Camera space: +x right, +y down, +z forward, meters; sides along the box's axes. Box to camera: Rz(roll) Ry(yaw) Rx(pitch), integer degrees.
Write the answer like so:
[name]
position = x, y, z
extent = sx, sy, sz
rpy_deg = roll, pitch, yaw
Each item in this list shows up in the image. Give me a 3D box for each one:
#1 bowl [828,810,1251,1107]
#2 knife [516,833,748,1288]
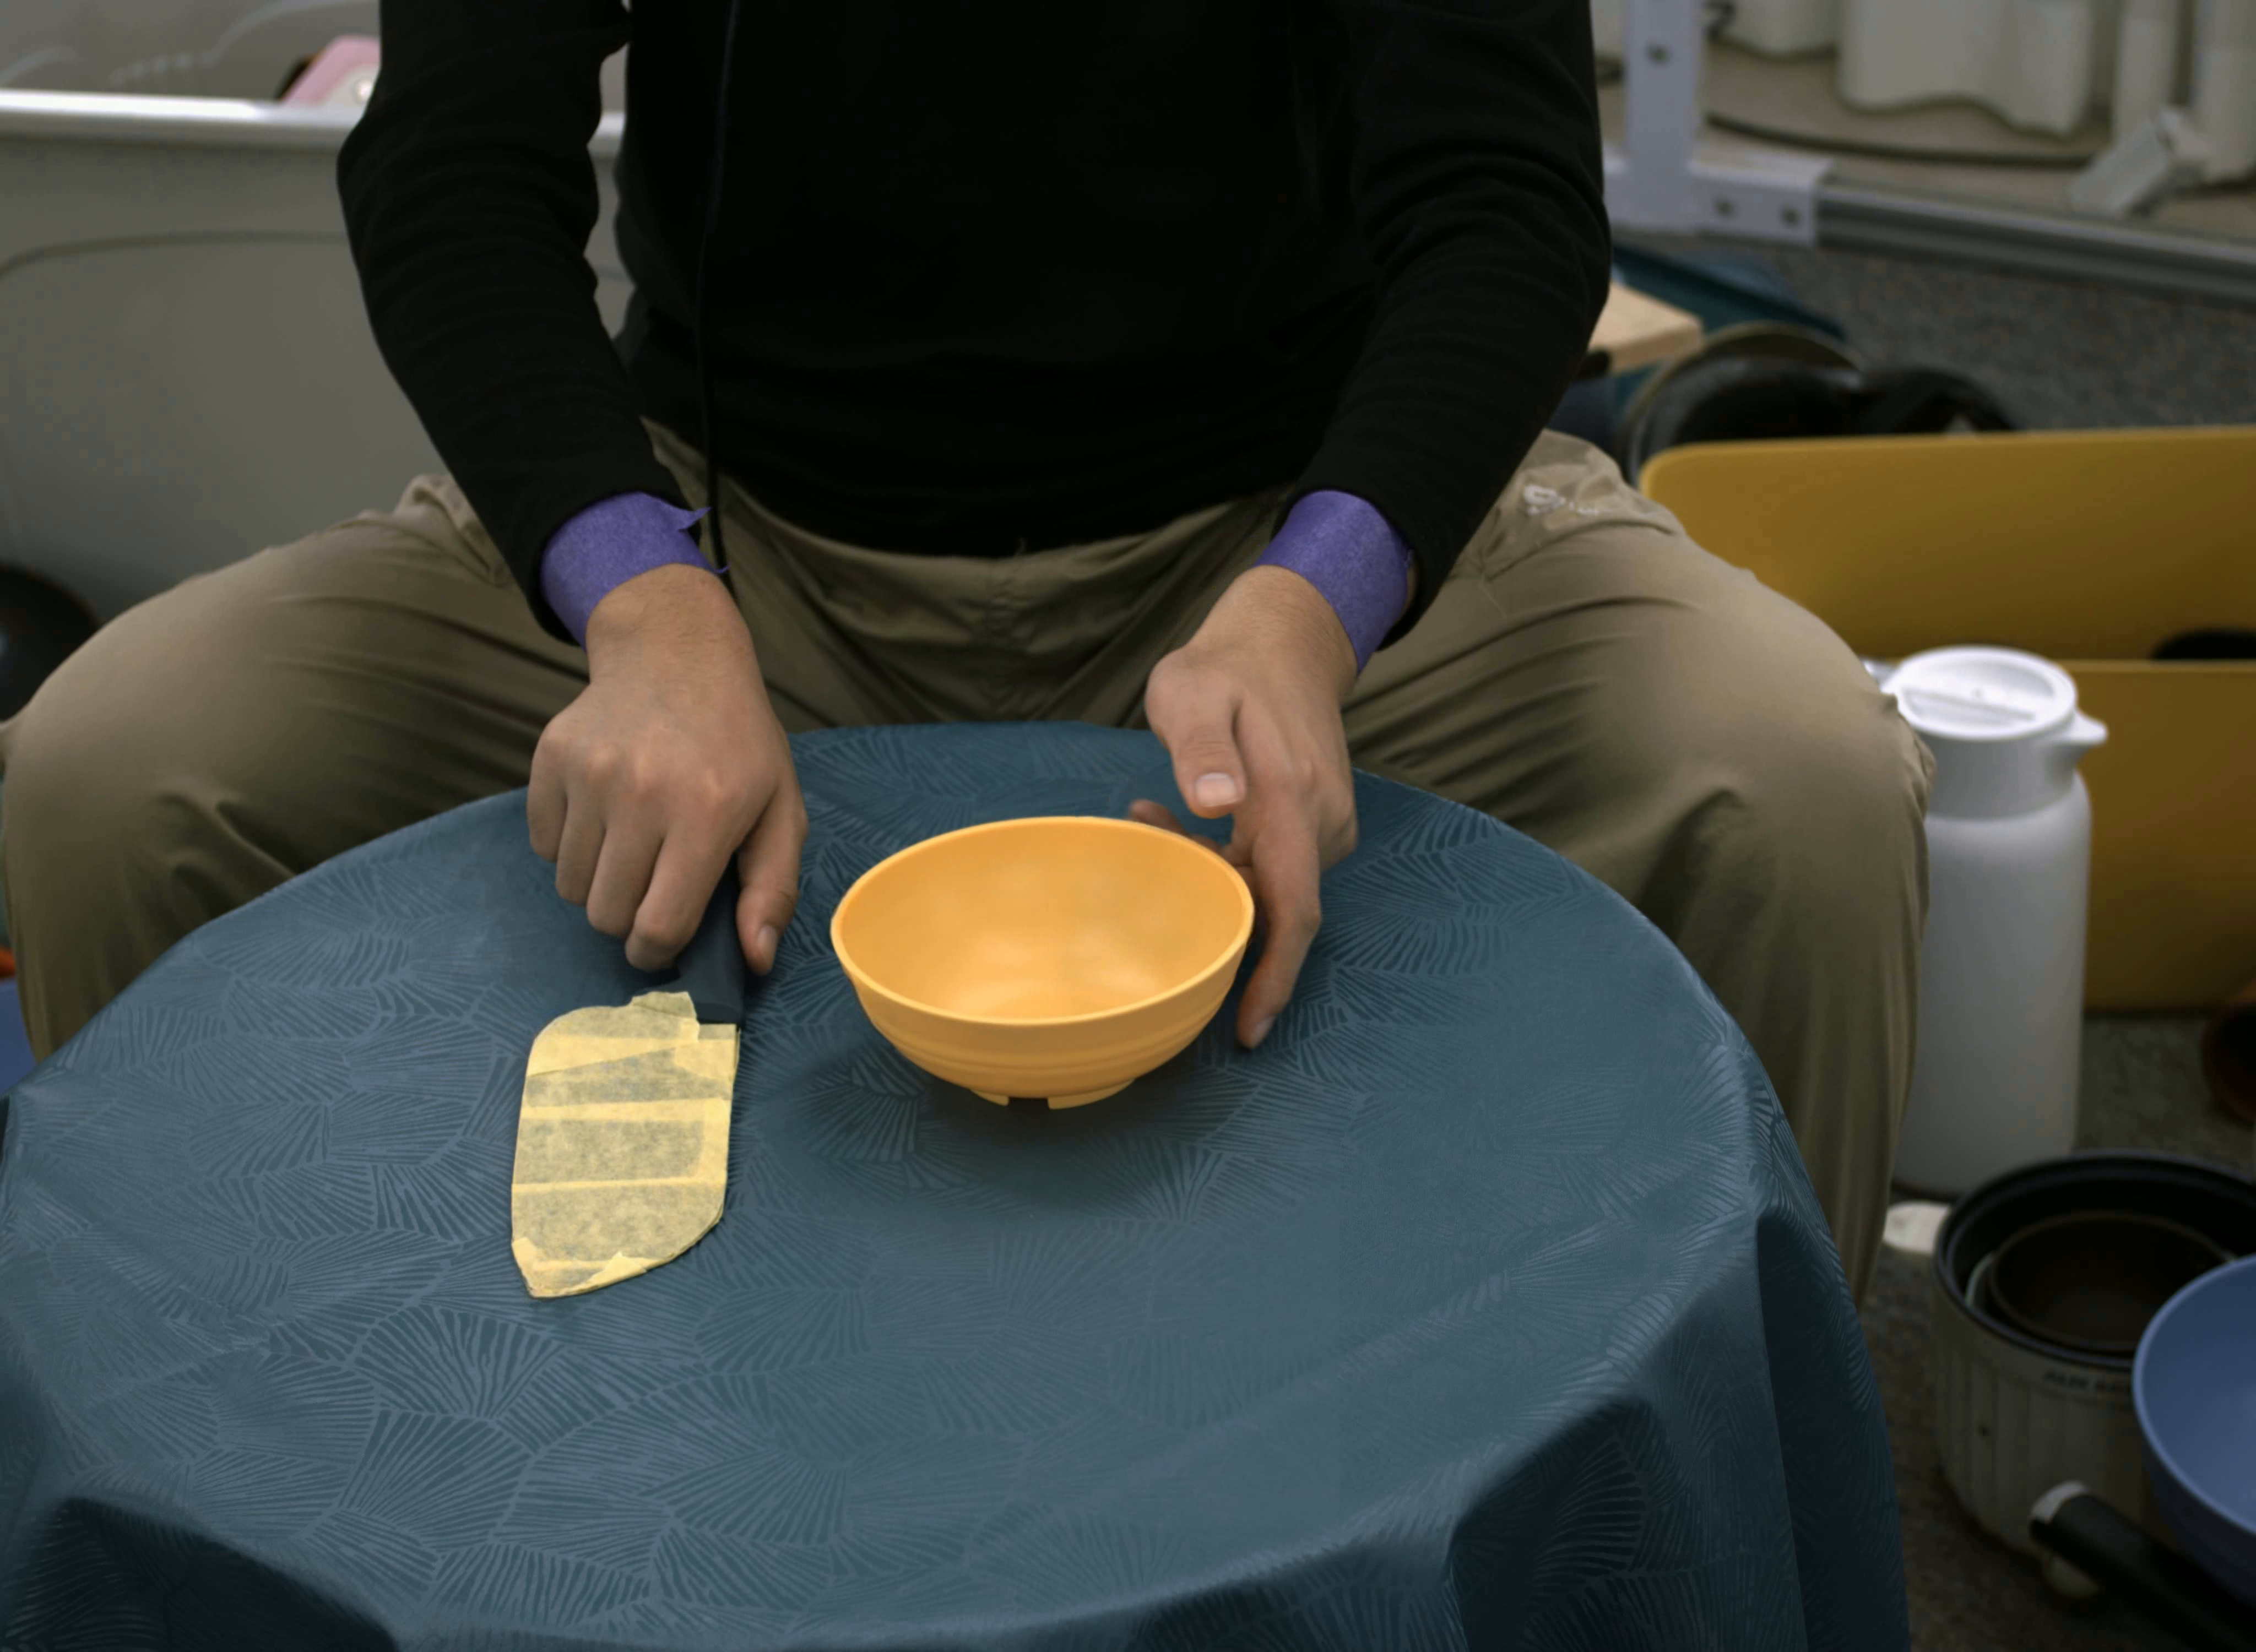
[bowl]
position = -0.030, 0.055, 1.927
extent = 0.144, 0.059, 0.147
rpy_deg = 0, 28, 1
[knife]
position = -0.169, 0.079, 1.942
extent = 0.080, 0.027, 0.294
rpy_deg = 2, 29, 2
